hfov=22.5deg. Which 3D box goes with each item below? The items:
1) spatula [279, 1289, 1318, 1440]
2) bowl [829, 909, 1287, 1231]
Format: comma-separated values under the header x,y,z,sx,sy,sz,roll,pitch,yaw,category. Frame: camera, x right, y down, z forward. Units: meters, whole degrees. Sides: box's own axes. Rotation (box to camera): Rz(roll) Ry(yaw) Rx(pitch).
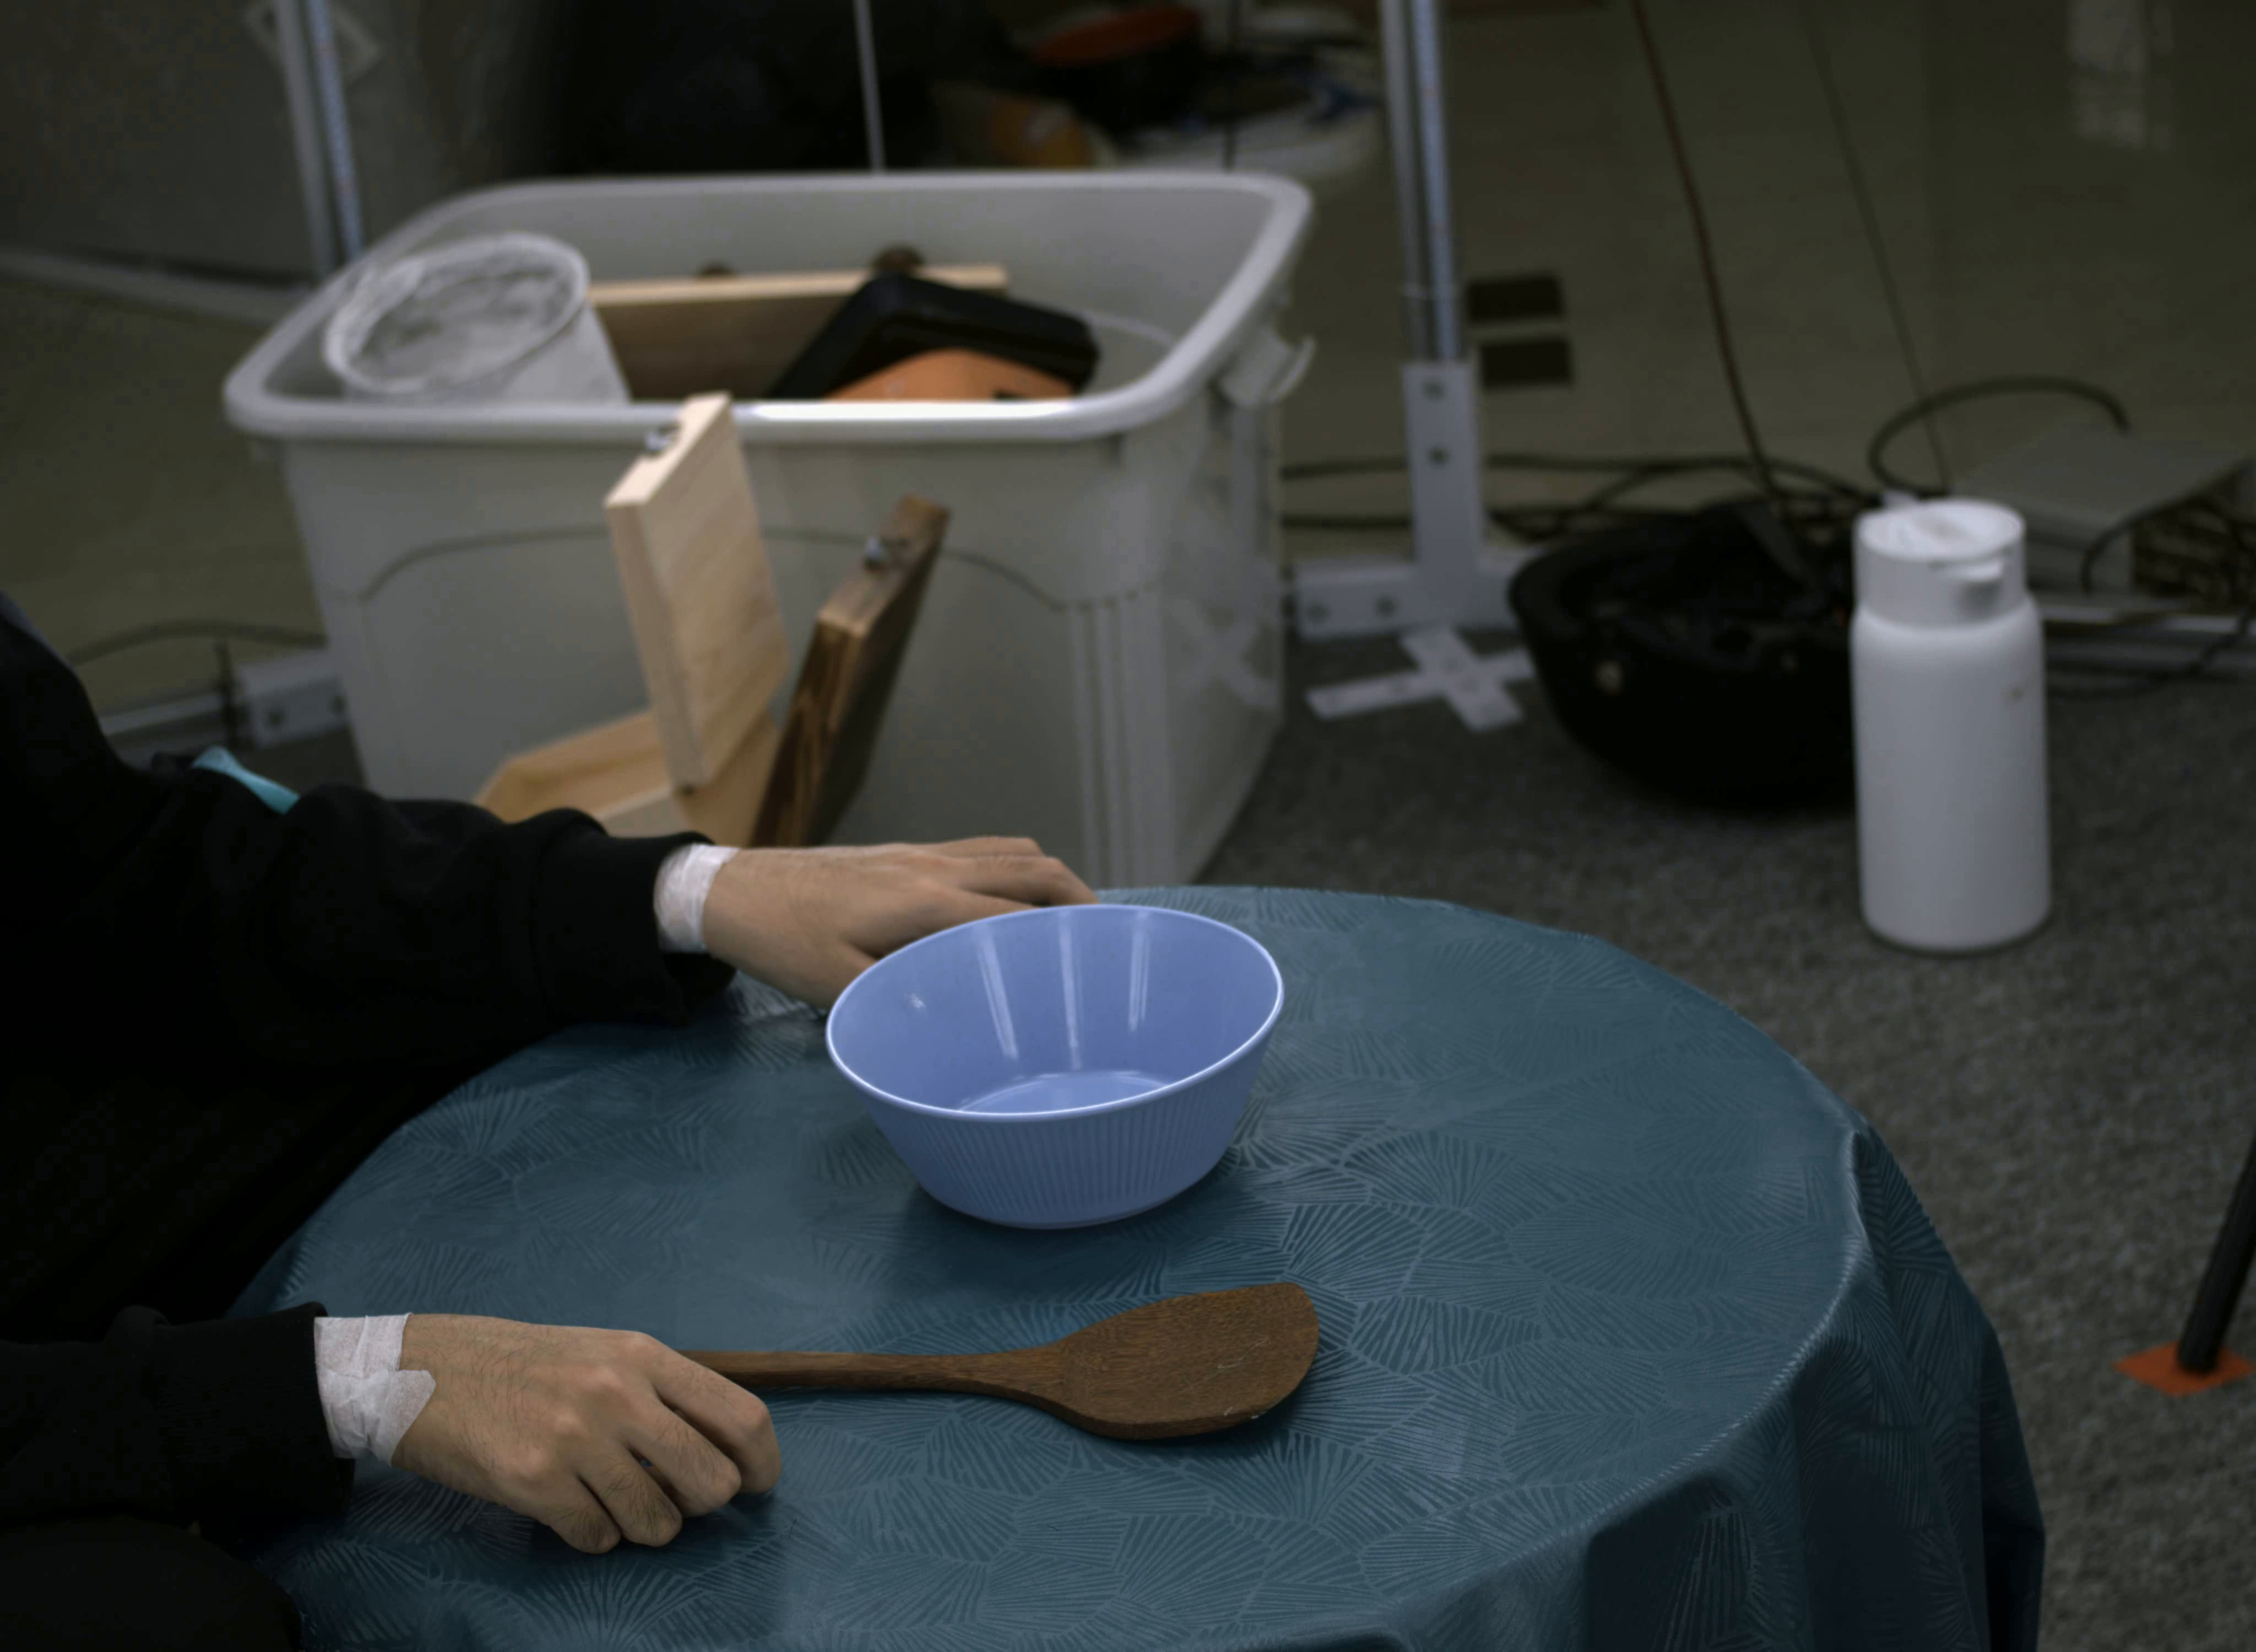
x,y,z,sx,sy,sz,roll,pitch,yaw,category
-0.122,0.196,2.044,0.385,0.016,0.095,-2,25,11,spatula
-0.023,0.099,2.162,0.176,0.071,0.173,-6,24,3,bowl
